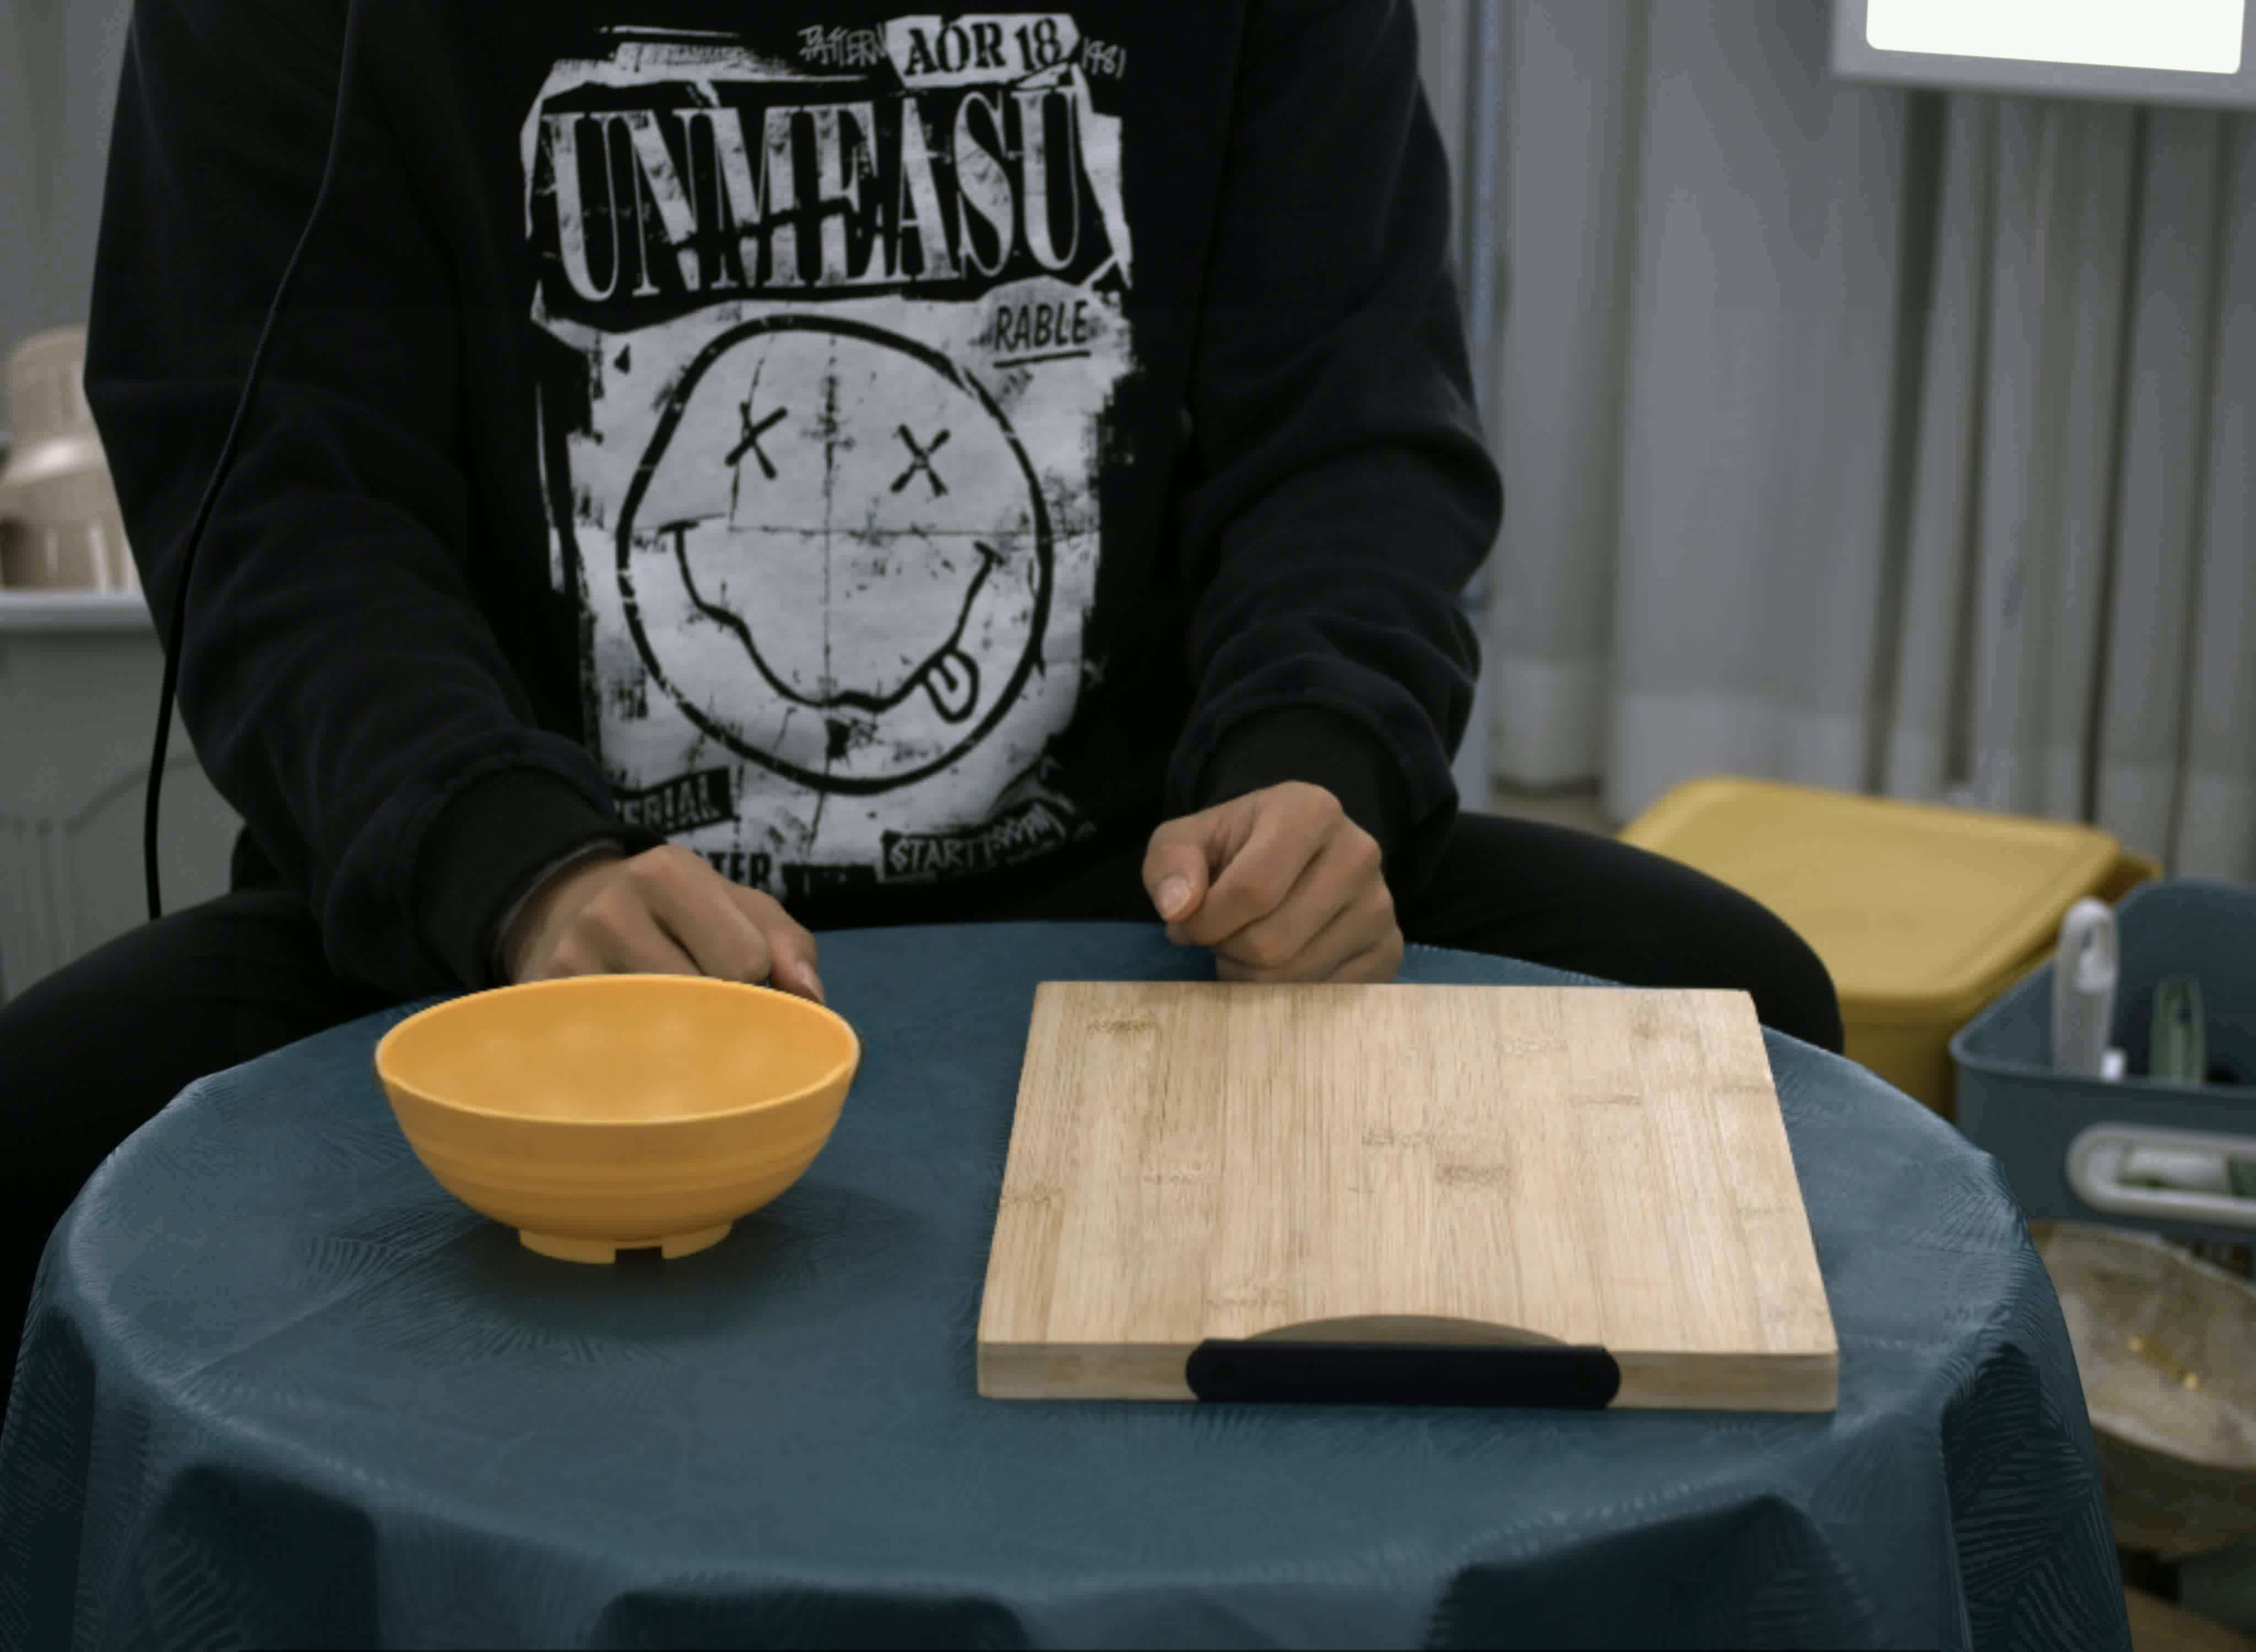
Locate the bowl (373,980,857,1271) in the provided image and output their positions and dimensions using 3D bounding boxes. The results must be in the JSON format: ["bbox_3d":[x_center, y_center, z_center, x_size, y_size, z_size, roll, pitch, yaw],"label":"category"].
[{"bbox_3d":[-0.154,0.095,1.581,0.145,0.060,0.144,3,15,0],"label":"bowl"}]

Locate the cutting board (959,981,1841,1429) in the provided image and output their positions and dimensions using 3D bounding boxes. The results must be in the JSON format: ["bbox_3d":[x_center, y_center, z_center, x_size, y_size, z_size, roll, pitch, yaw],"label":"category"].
[{"bbox_3d":[0.082,0.110,1.610,0.250,0.024,0.347,0,16,1],"label":"cutting board"}]
